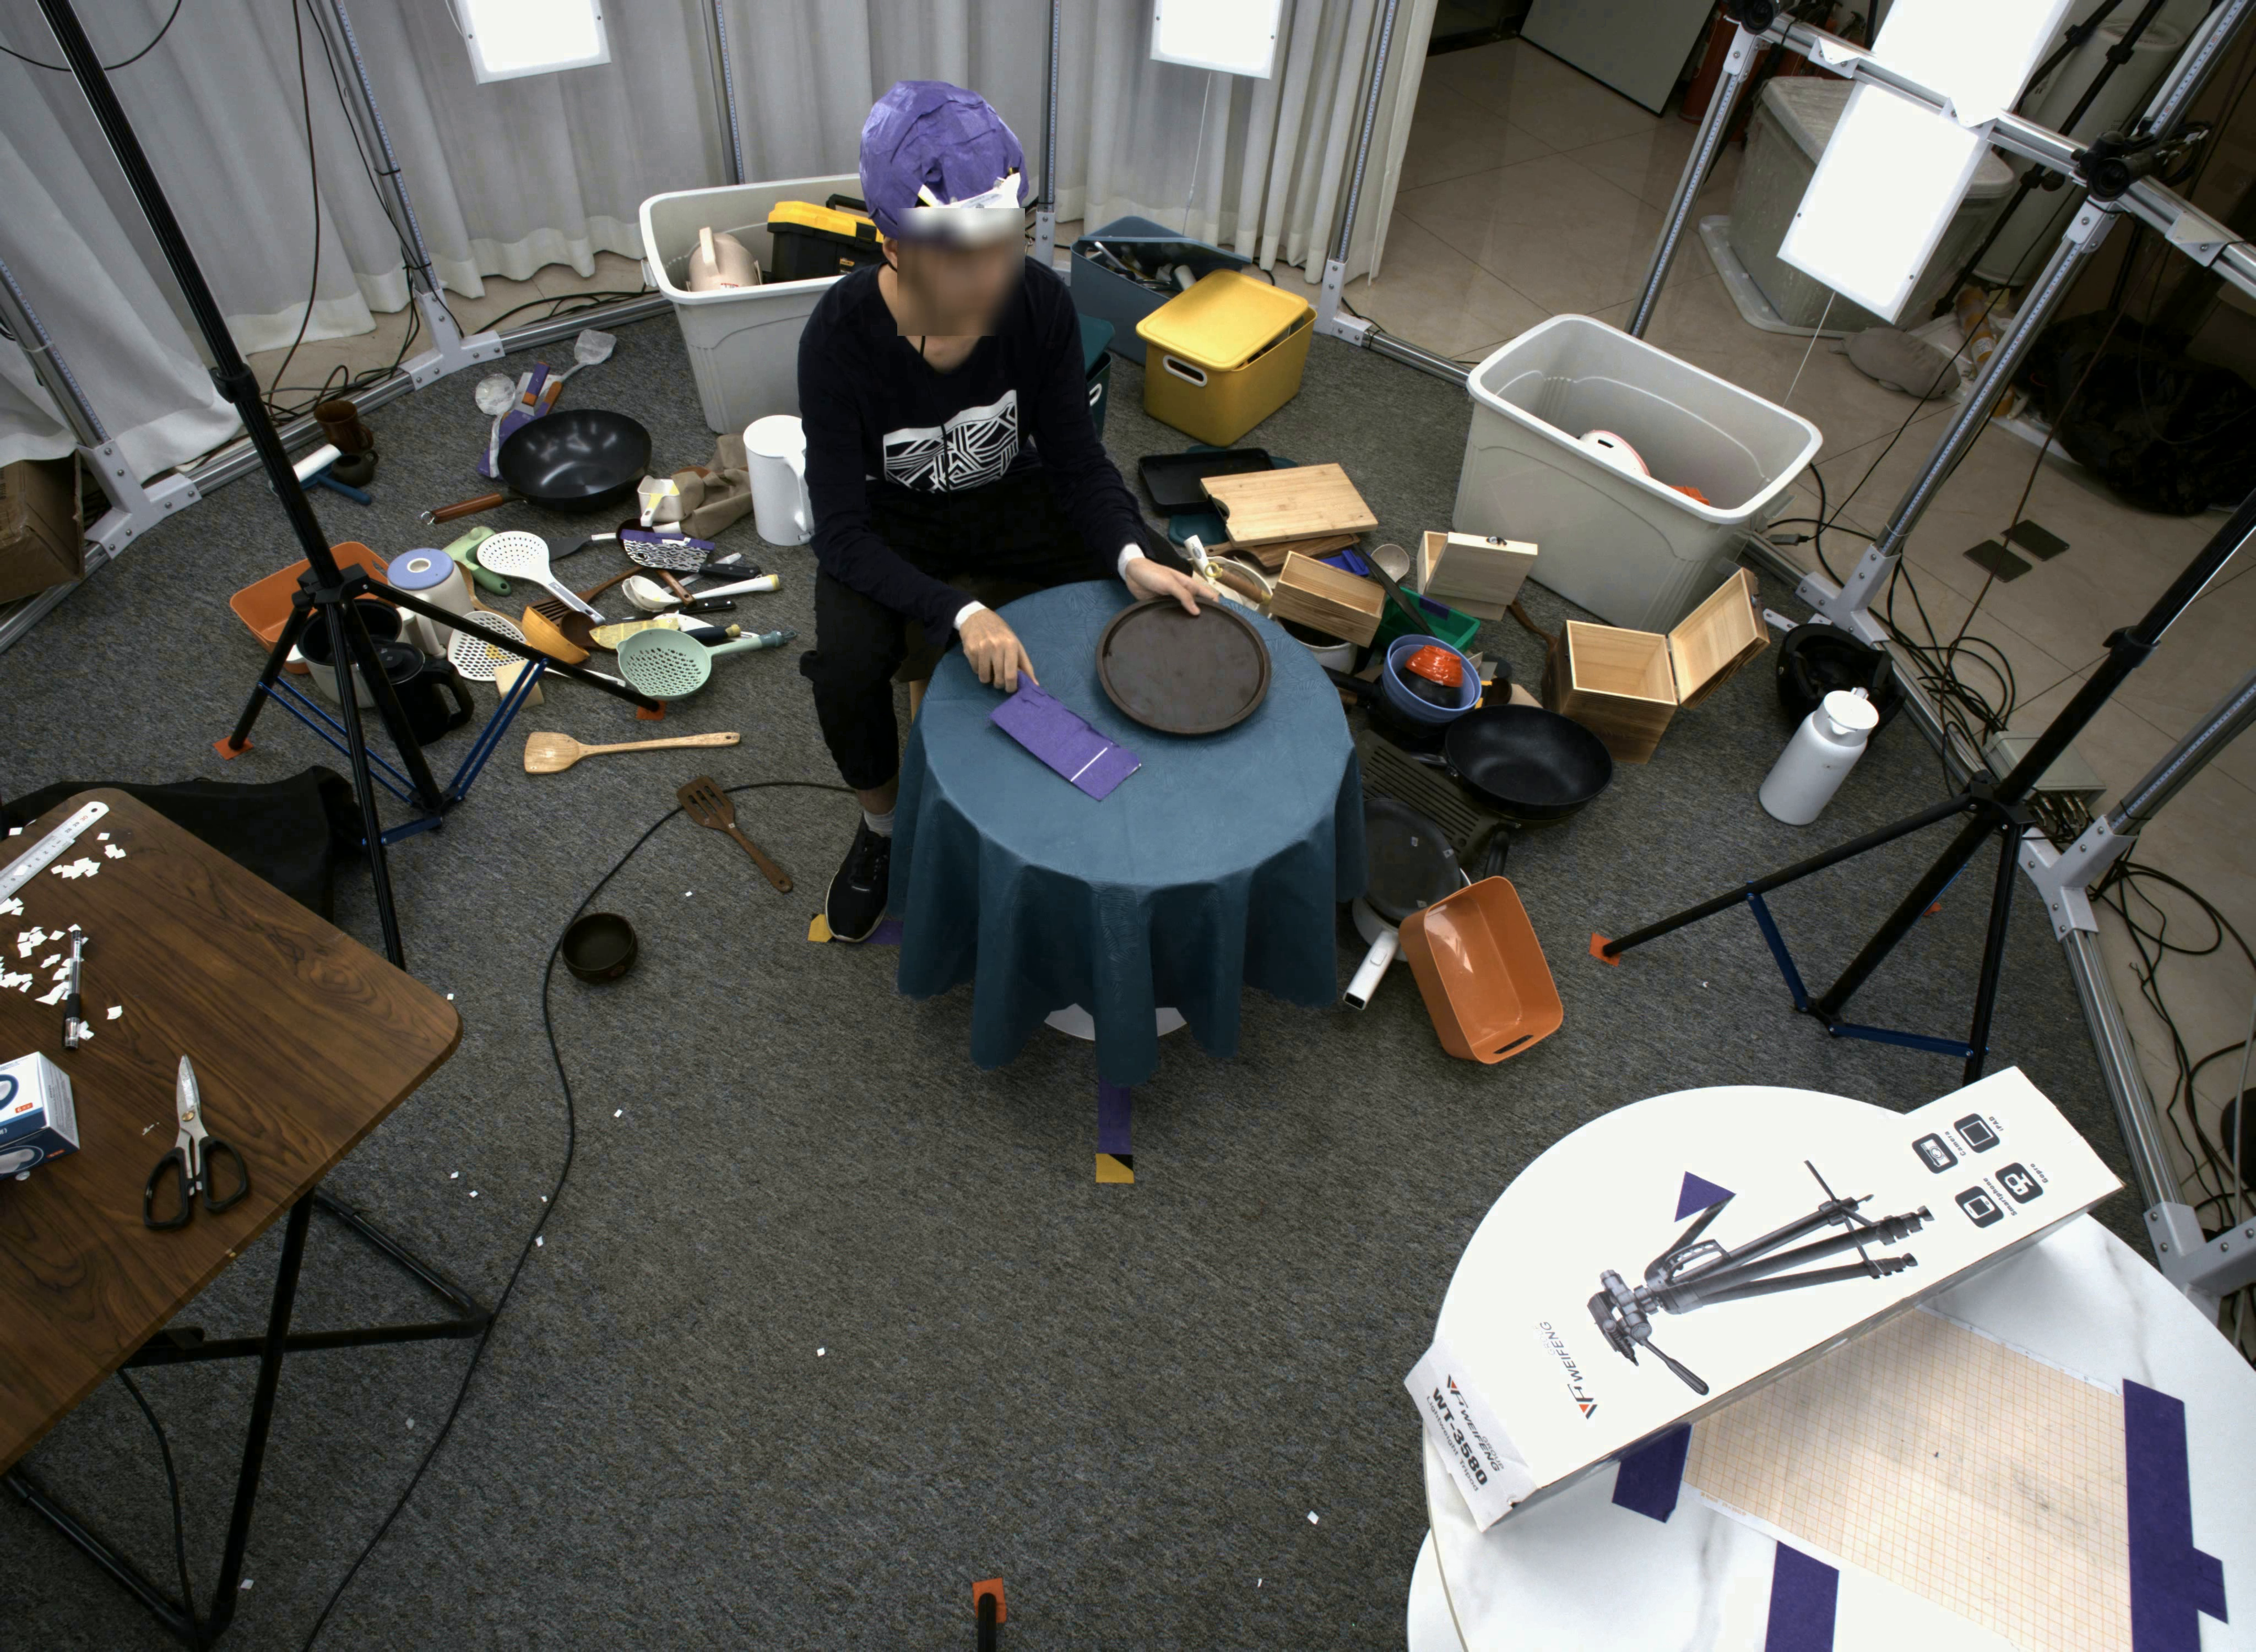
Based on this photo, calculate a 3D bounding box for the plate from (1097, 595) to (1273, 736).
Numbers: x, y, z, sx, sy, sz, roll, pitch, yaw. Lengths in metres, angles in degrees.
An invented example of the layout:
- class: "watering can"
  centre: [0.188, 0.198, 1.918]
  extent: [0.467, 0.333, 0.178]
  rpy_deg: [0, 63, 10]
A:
- class: "plate"
  centre: [0.081, -0.231, 1.838]
  extent: [0.254, 0.028, 0.261]
  rpy_deg: [3, 57, -5]

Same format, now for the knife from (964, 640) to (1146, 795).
- class: "knife"
  centre: [-0.125, -0.152, 1.766]
  extent: [0.319, 0.031, 0.105]
  rpy_deg: [35, 59, 22]
